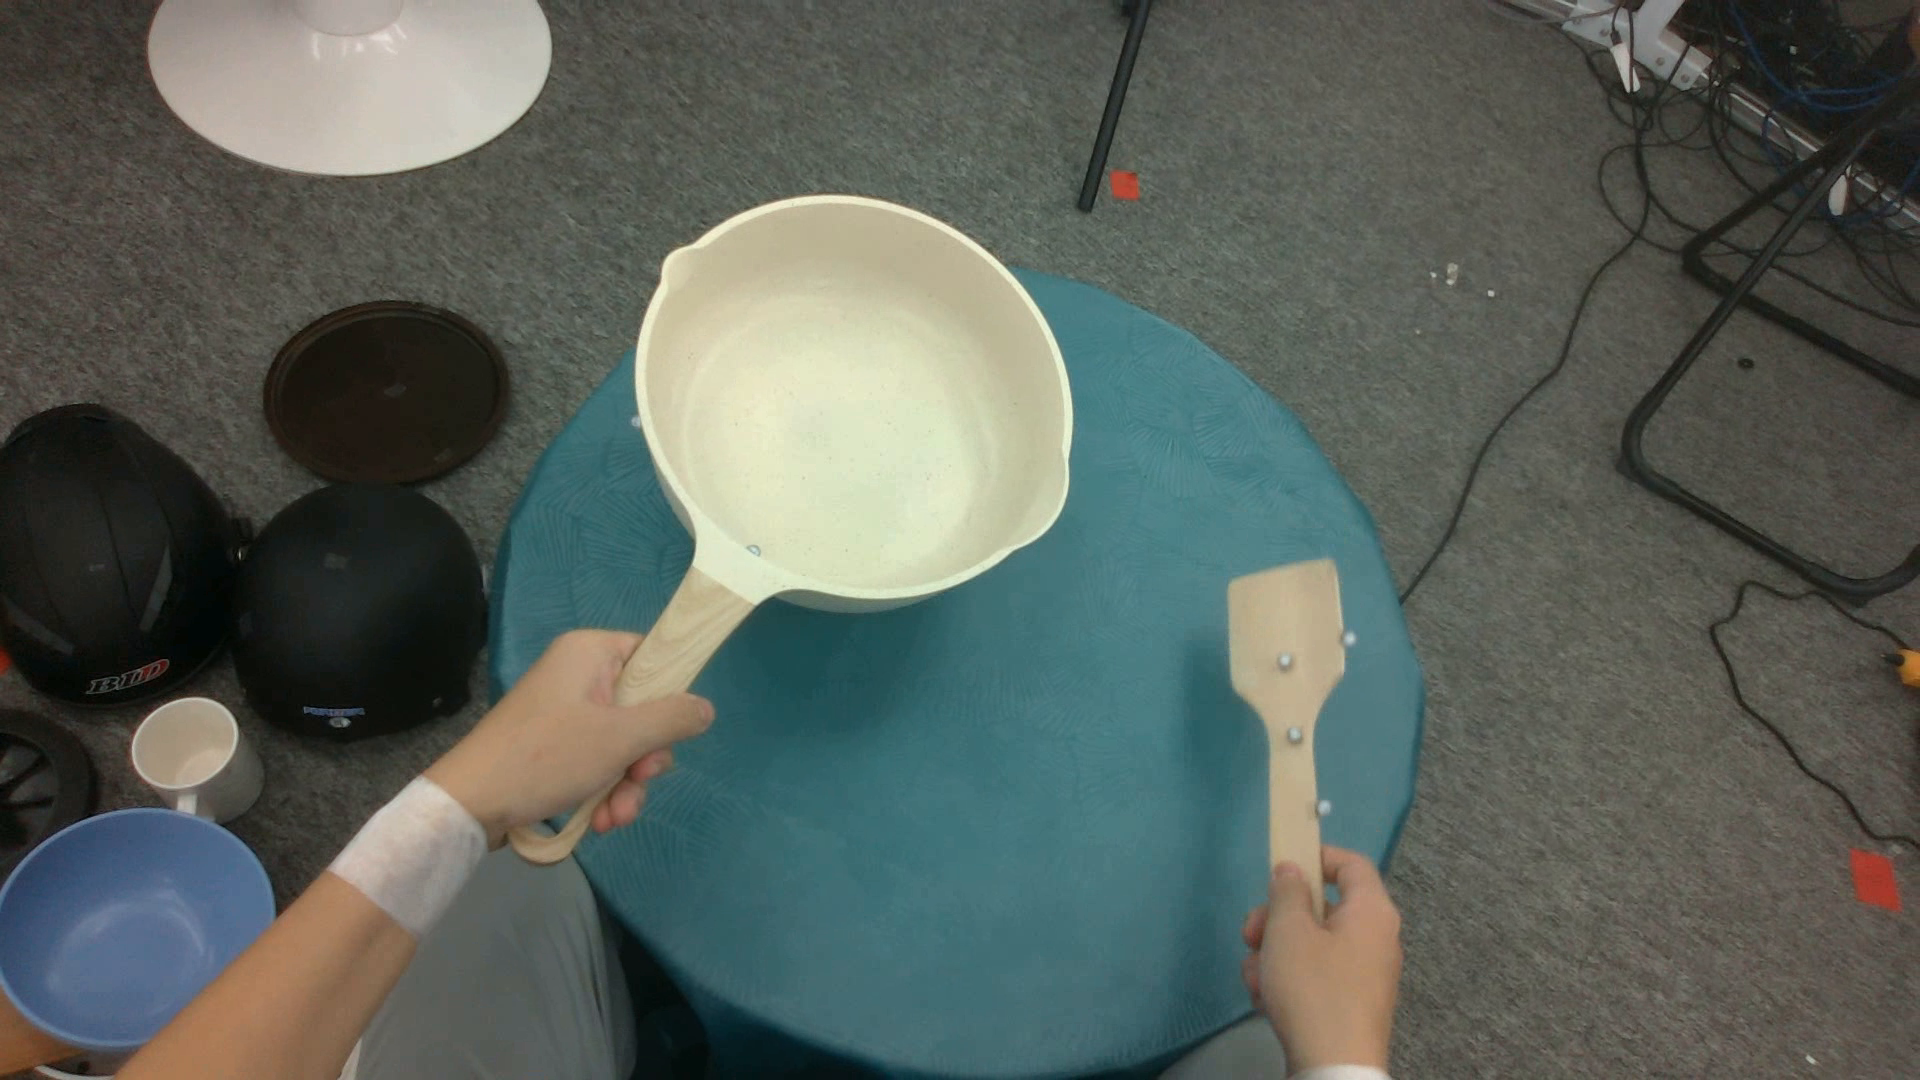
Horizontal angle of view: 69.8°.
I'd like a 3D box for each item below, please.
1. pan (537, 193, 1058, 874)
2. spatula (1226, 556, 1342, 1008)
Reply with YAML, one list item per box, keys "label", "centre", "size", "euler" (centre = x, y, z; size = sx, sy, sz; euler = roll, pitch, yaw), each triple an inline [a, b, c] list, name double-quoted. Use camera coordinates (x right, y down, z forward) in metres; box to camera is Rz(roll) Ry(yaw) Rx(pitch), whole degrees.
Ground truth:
- label: "pan"
  centre: [-0.110, -0.006, 0.778]
  size: [0.263, 0.101, 0.436]
  euler: [31, 64, -4]
- label: "spatula"
  centre: [0.192, 0.127, 0.793]
  size: [0.072, 0.010, 0.294]
  euler: [-15, 44, 24]
